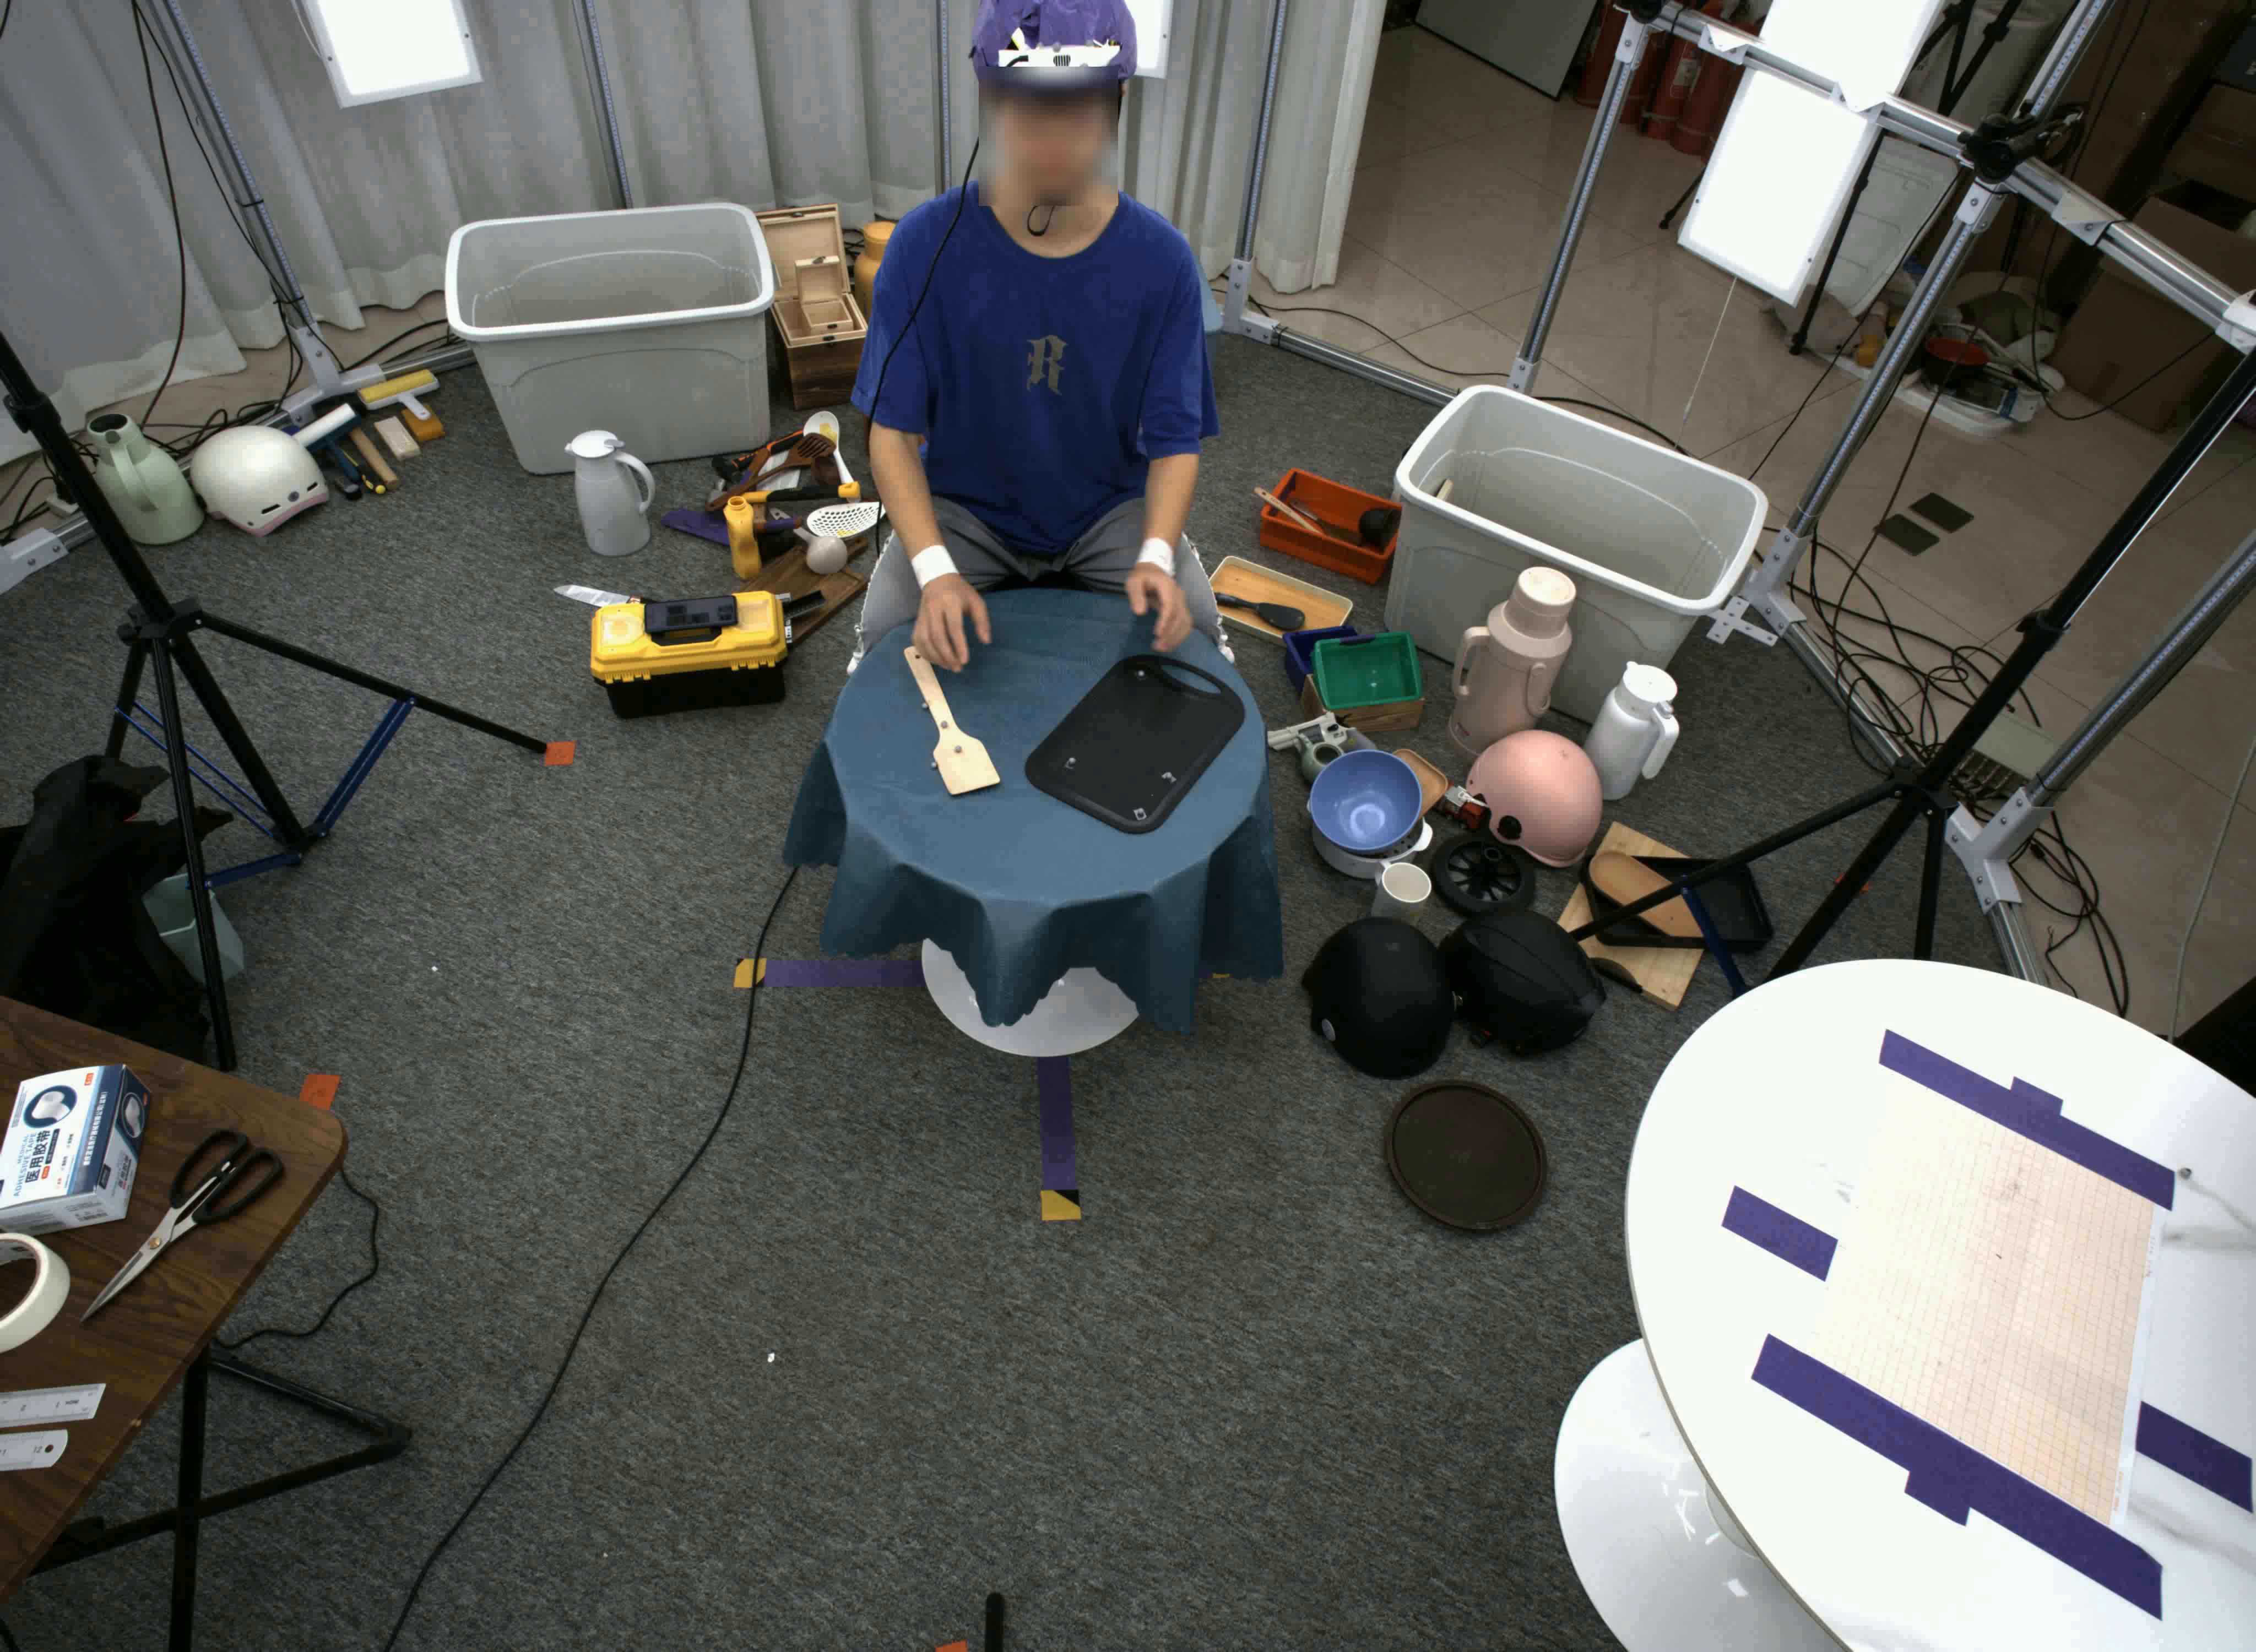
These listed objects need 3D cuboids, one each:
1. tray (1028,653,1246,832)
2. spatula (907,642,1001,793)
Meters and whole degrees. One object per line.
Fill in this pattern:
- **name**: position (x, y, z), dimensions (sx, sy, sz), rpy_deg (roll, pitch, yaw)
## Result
- **tray**: position (0.020, -0.130, 1.782), dimensions (0.213, 0.009, 0.330), rpy_deg (28, 54, 18)
- **spatula**: position (-0.256, -0.157, 1.786), dimensions (0.072, 0.010, 0.300), rpy_deg (-16, 53, -15)
